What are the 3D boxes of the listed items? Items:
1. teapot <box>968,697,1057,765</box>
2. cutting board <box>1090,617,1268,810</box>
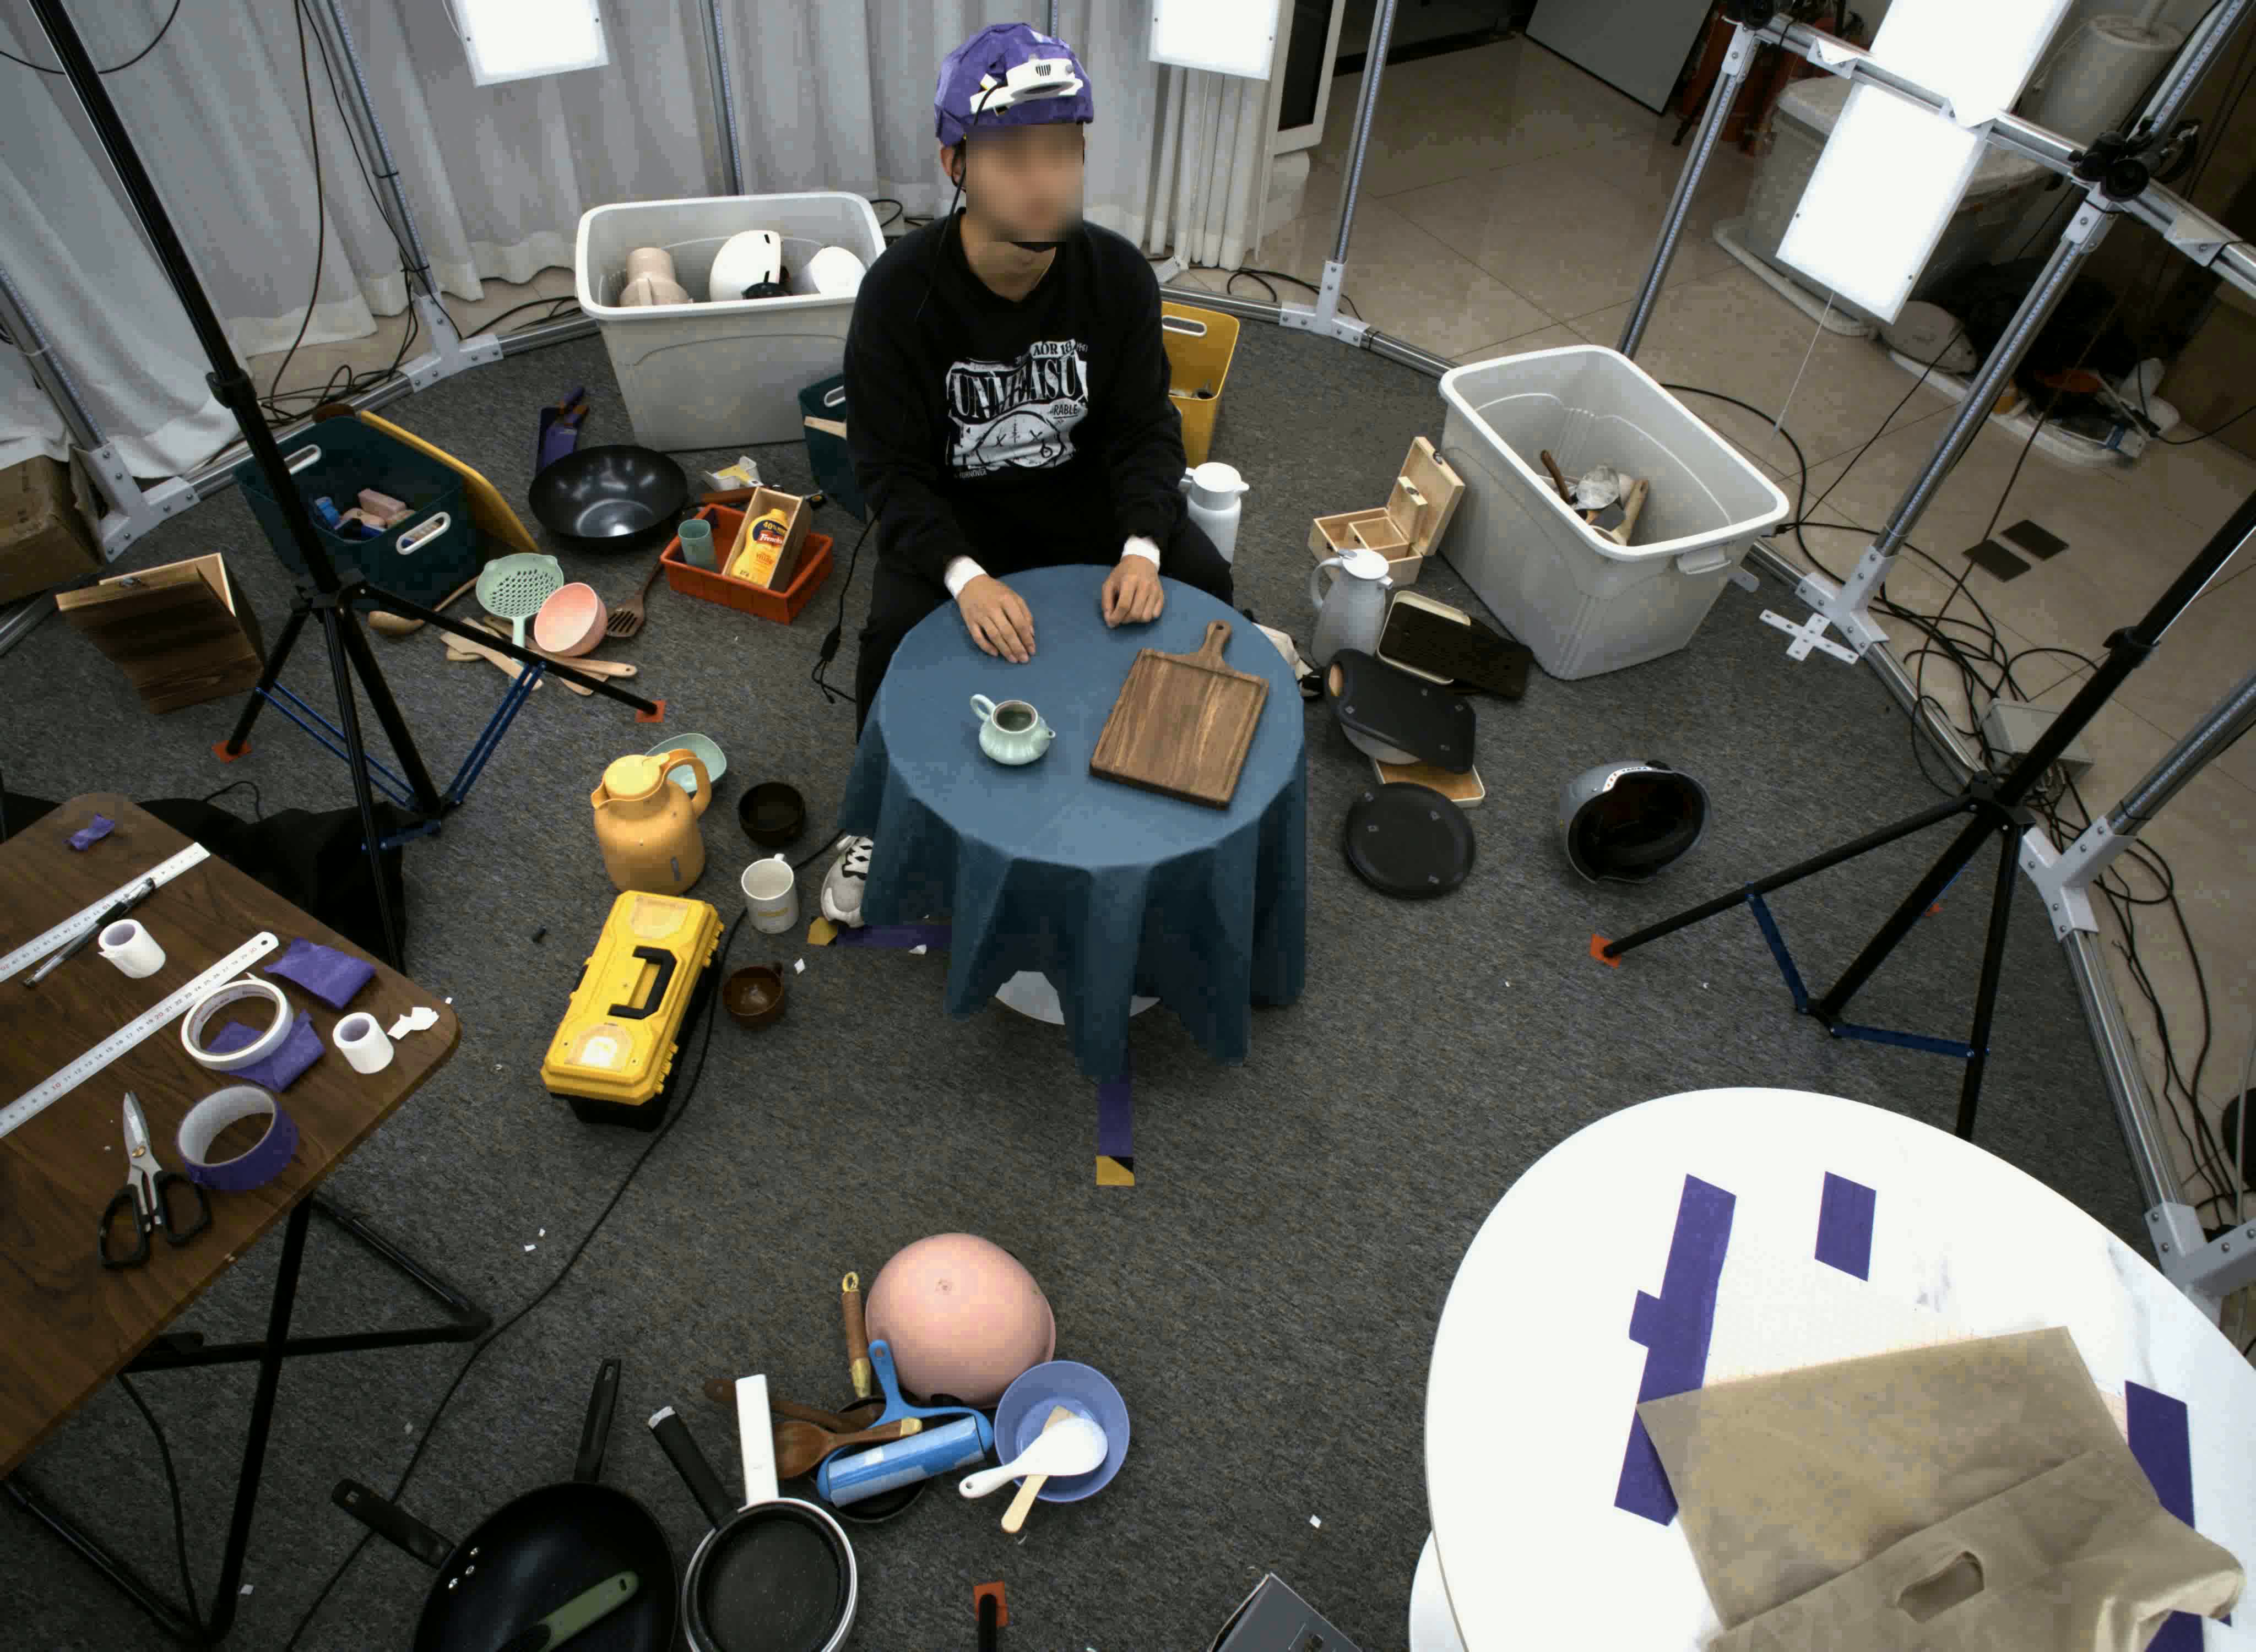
[{"bbox_3d":[-0.157,-0.132,1.735,0.138,0.060,0.098,26,54,17],"label":"teapot"},{"bbox_3d":[0.088,-0.177,1.814,0.201,0.022,0.359,14,50,8],"label":"cutting board"}]
